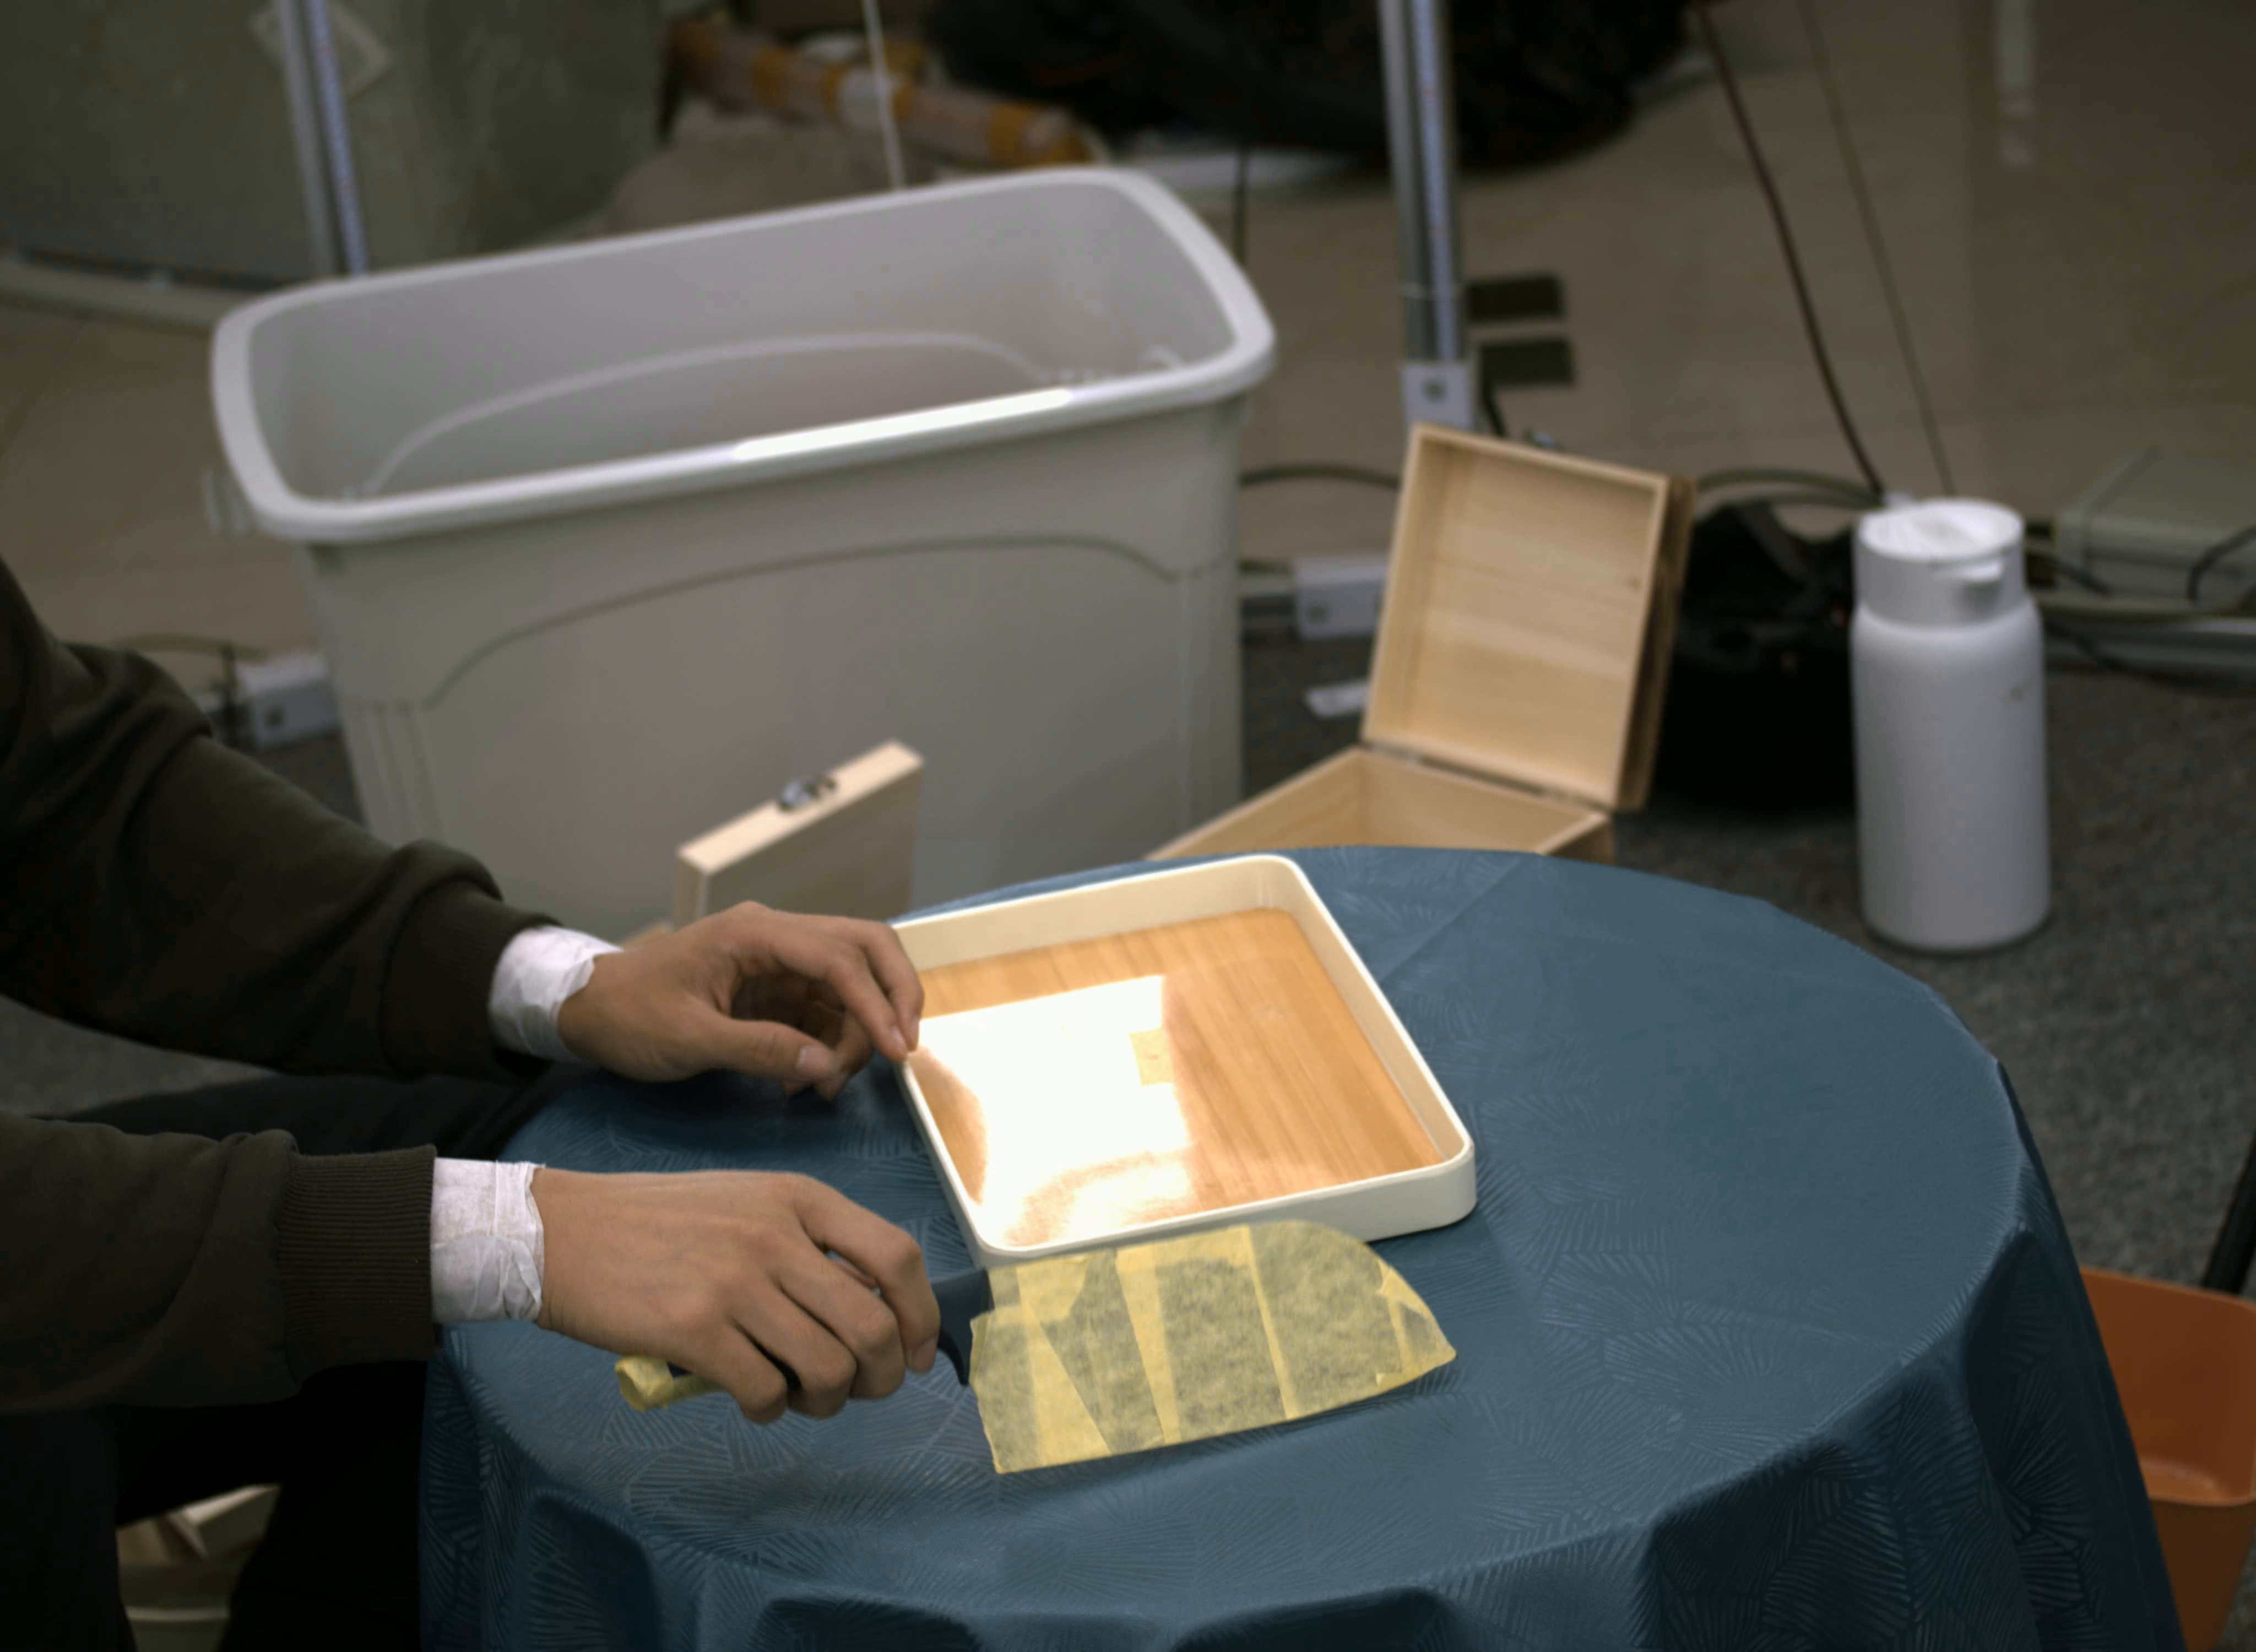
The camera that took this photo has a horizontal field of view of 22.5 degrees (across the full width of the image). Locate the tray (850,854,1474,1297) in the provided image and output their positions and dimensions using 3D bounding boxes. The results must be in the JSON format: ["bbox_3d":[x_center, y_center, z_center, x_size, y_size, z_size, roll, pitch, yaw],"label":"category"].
[{"bbox_3d":[0.008,0.095,2.213,0.191,0.028,0.296,-12,25,-8],"label":"tray"}]

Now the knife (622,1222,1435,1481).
[{"bbox_3d":[-0.031,0.188,1.972,0.289,0.027,0.080,-7,65,-13],"label":"knife"}]
